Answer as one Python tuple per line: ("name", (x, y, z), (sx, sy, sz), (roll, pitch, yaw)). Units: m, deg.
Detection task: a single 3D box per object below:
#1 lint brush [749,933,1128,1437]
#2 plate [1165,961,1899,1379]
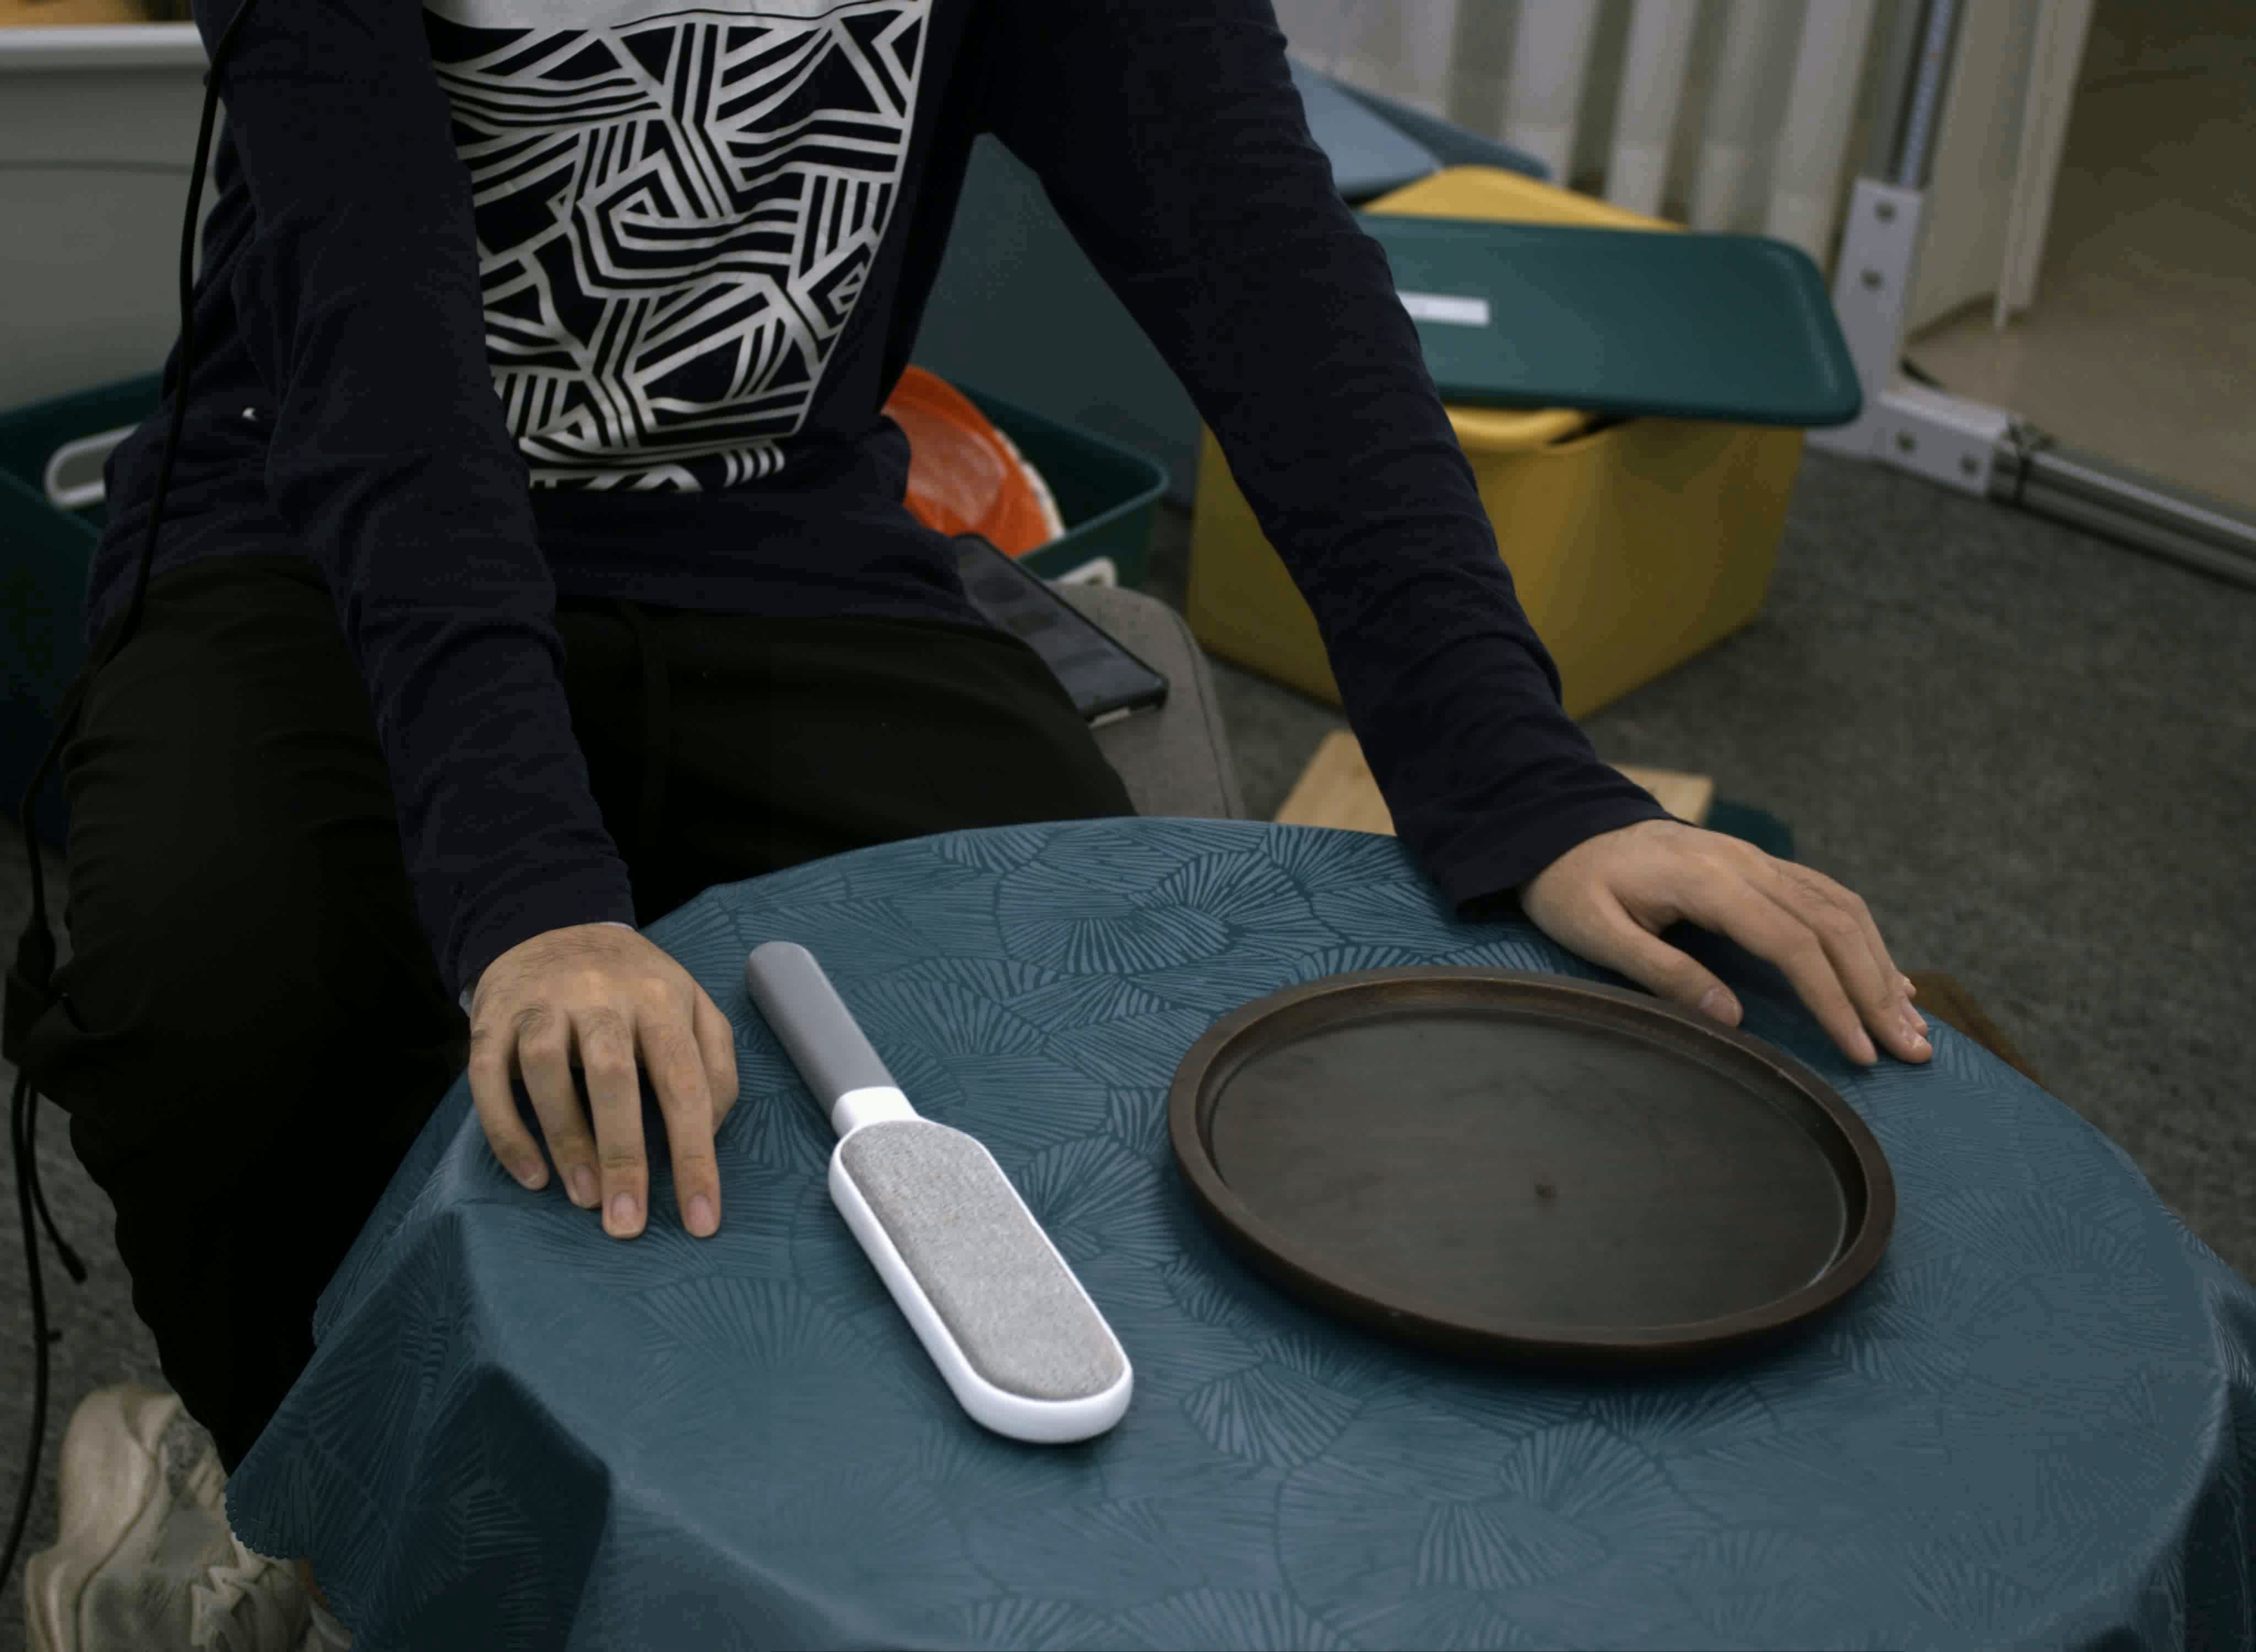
("lint brush", (-0.071, 0.114, 1.778), (0.060, 0.021, 0.311), (-9, 30, -18))
("plate", (0.138, 0.116, 1.824), (0.254, 0.029, 0.256), (7, 26, -4))
